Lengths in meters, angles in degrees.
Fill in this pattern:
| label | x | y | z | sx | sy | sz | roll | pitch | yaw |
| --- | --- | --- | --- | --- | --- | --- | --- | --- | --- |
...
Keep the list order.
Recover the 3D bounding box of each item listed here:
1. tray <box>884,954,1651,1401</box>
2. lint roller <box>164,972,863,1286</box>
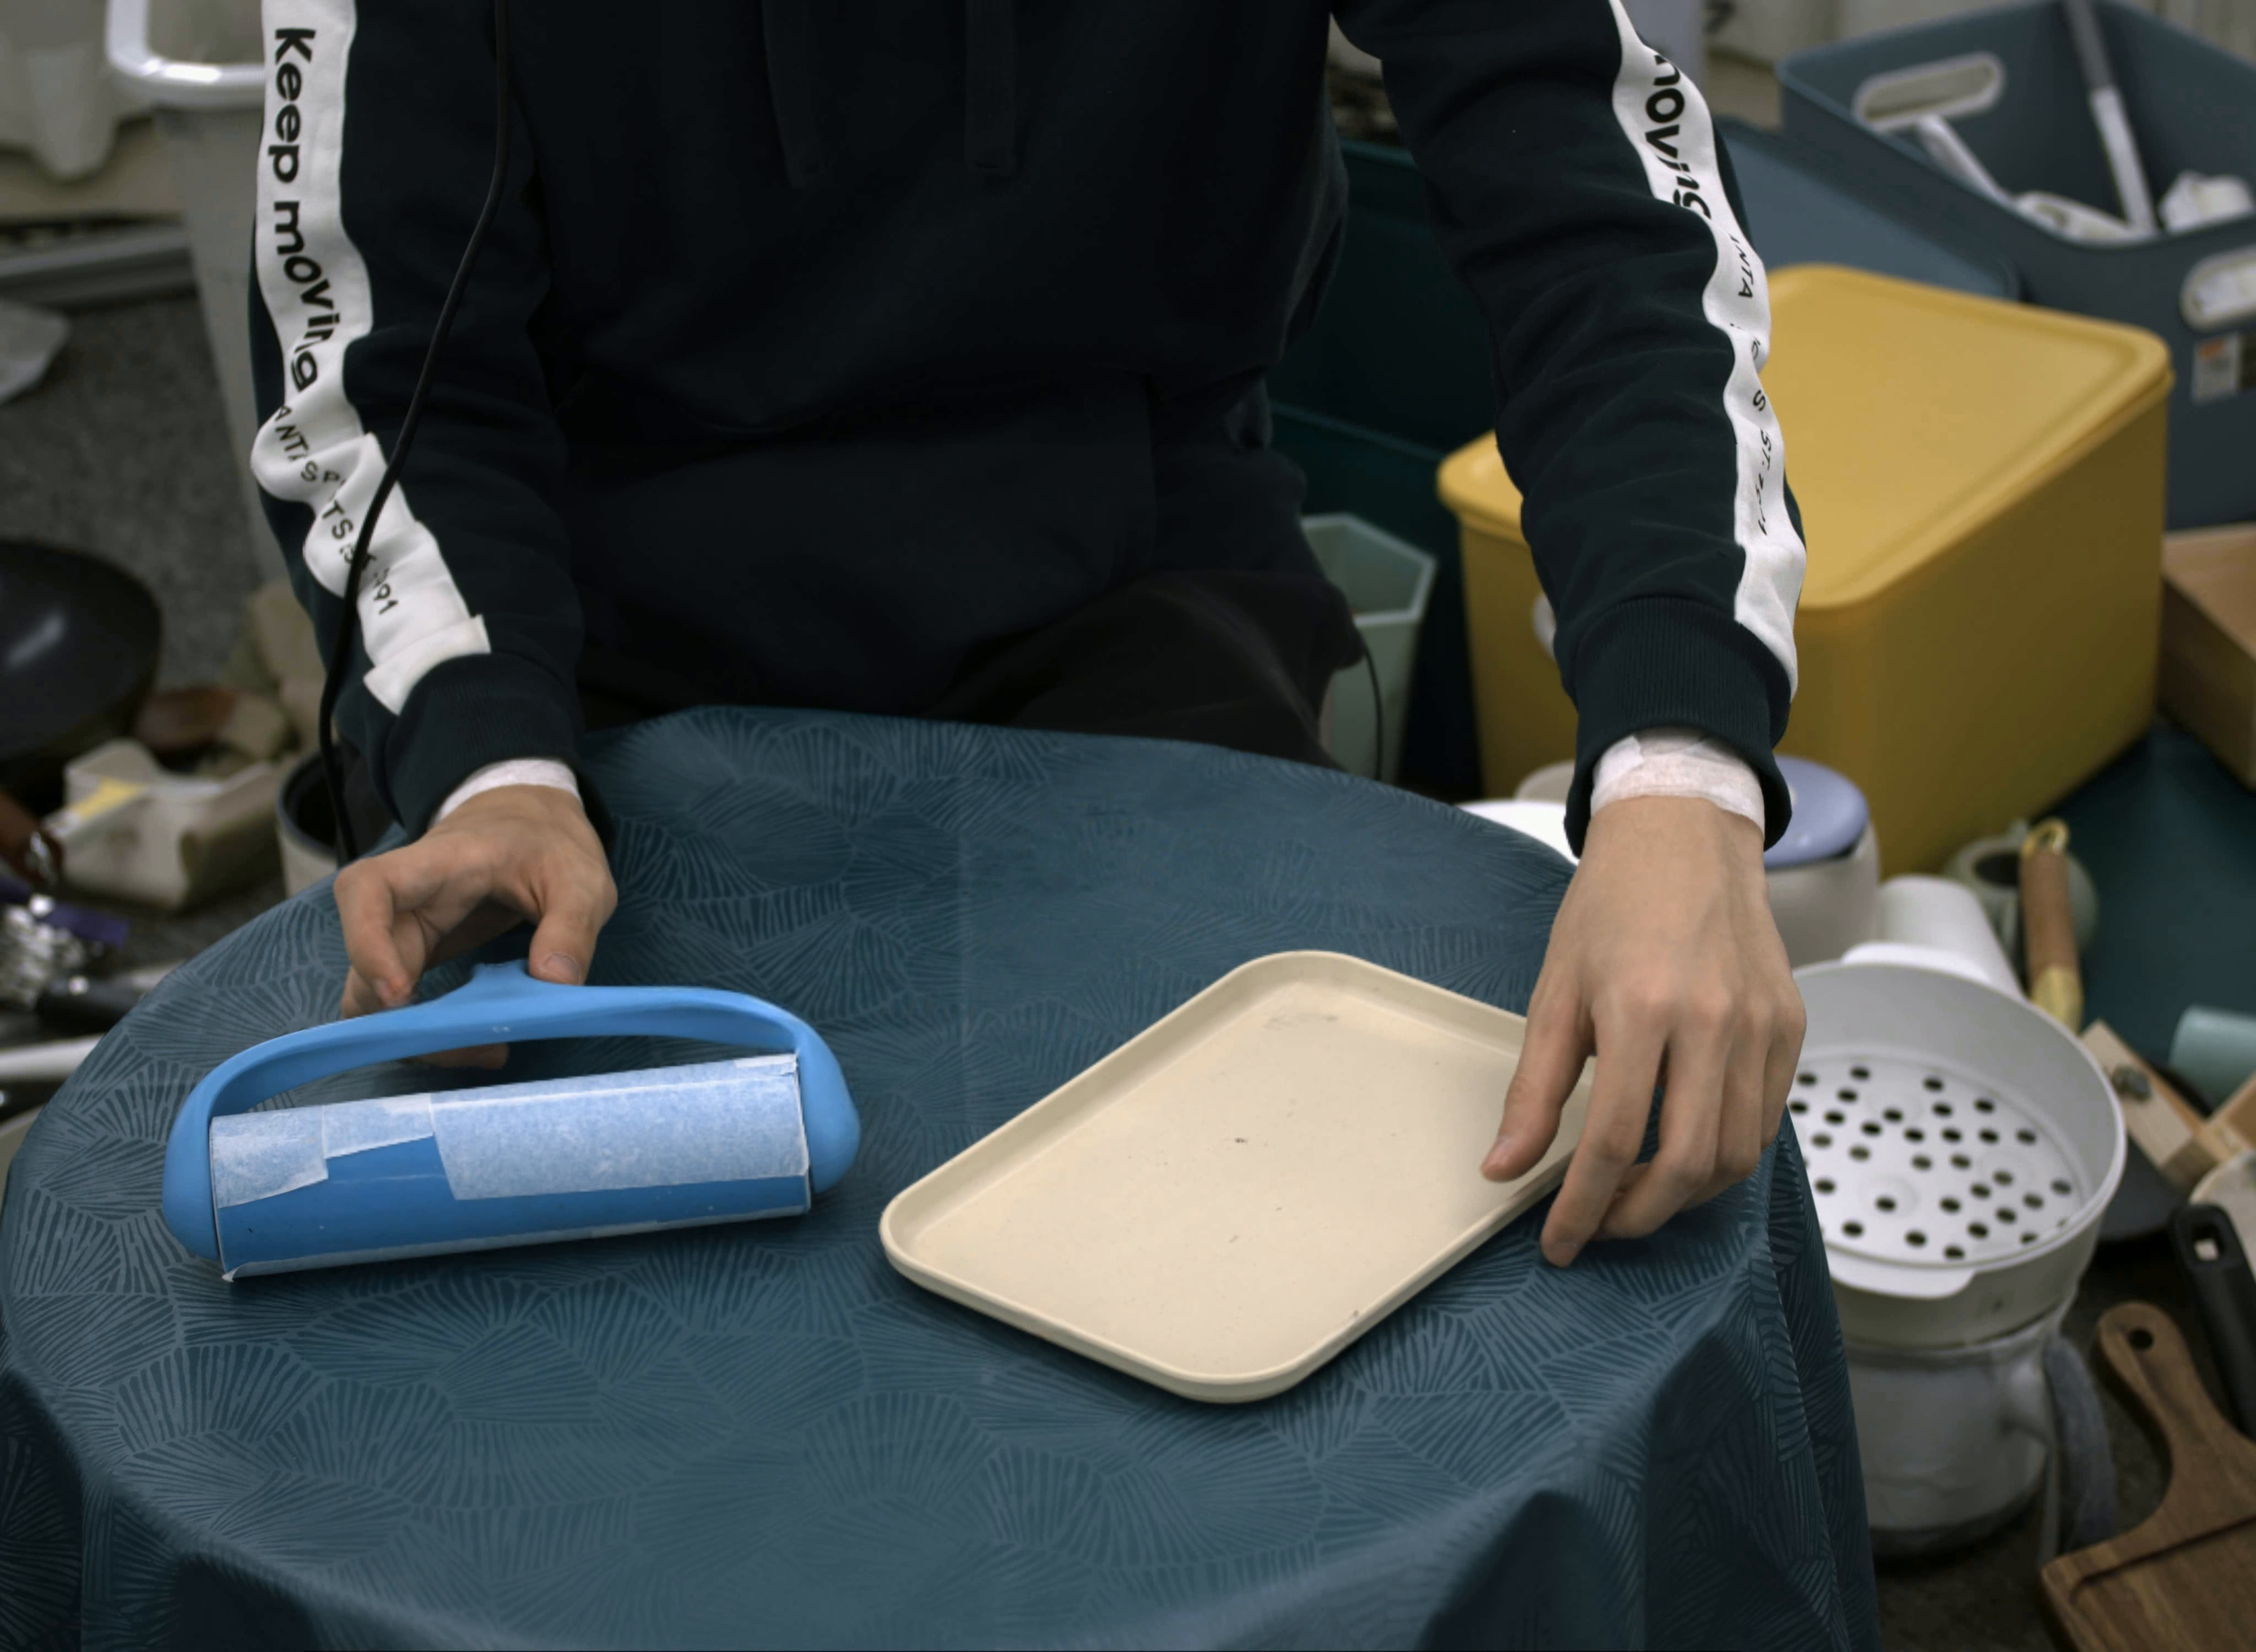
| label | x | y | z | sx | sy | sz | roll | pitch | yaw |
| --- | --- | --- | --- | --- | --- | --- | --- | --- | --- |
| tray | 0.048 | 0.114 | 1.851 | 0.170 | 0.017 | 0.243 | 18 | 34 | 35 |
| lint roller | -0.211 | 0.085 | 1.891 | 0.228 | 0.067 | 0.182 | -8 | 29 | -8 |
